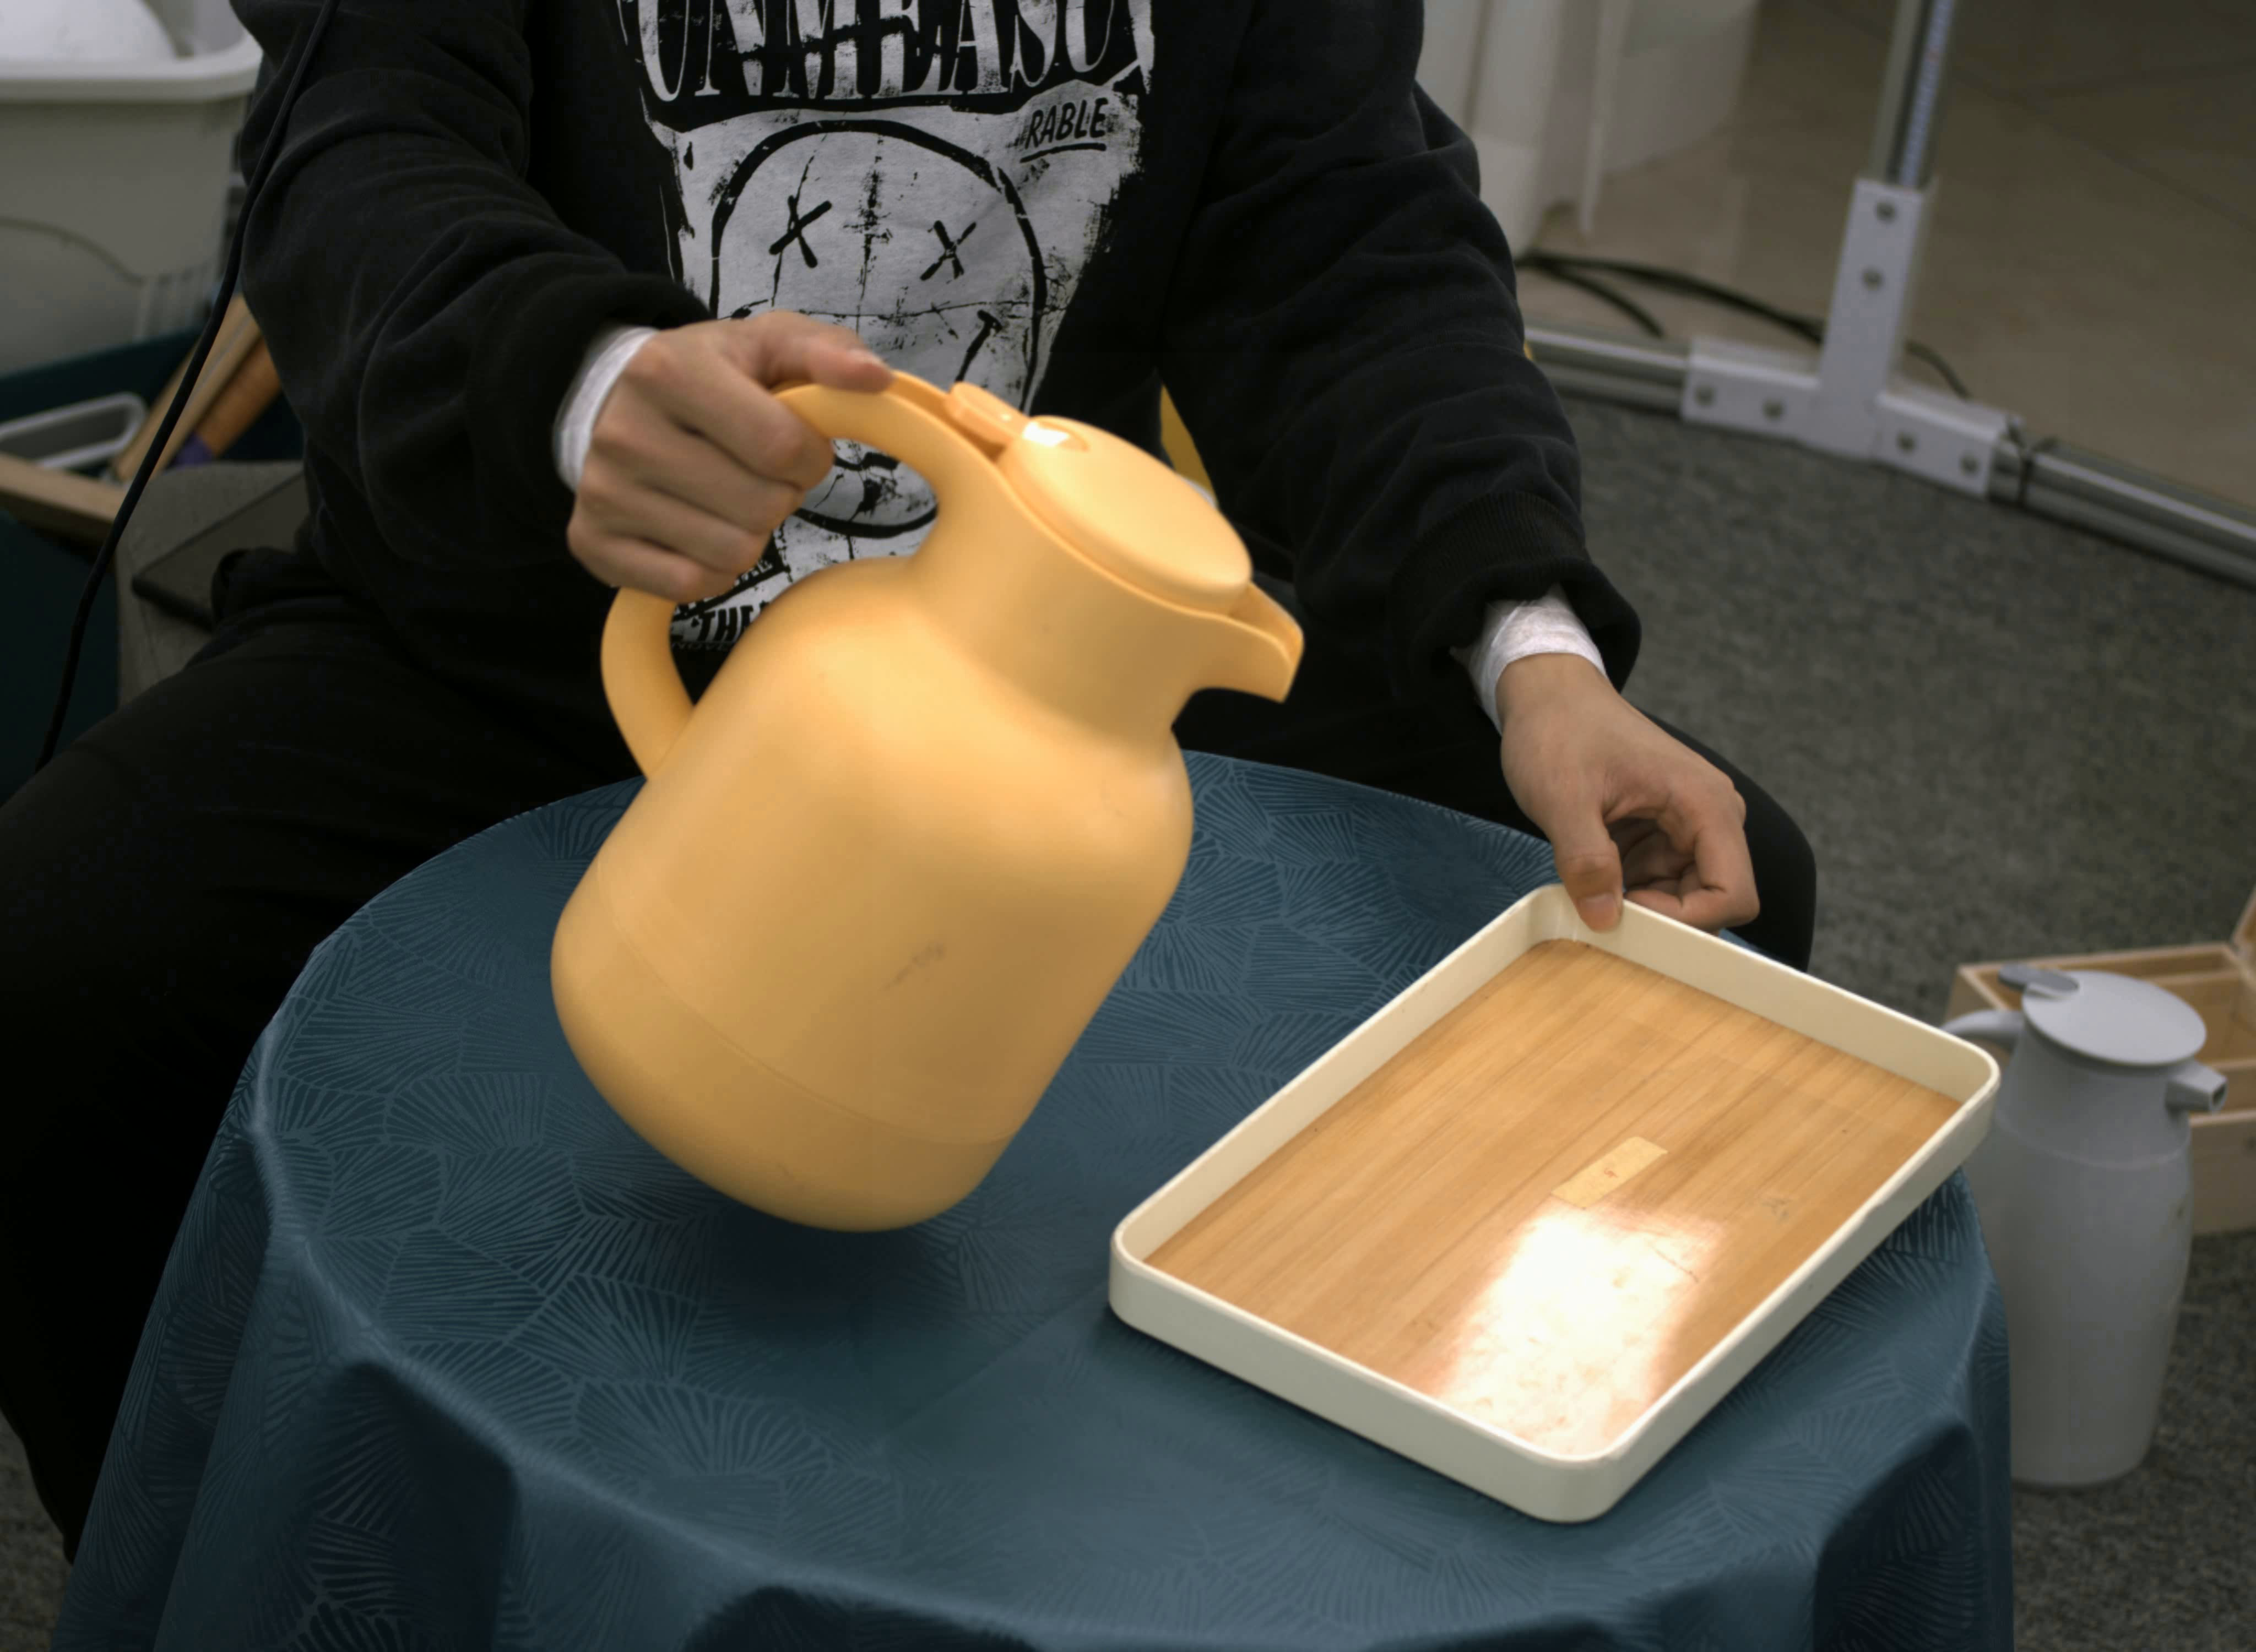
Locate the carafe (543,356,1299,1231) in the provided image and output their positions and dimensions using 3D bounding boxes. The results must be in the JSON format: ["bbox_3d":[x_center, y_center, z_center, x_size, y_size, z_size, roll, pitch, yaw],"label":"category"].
[{"bbox_3d":[-0.080,-0.019,1.695,0.202,0.260,0.163,35,19,1],"label":"carafe"}]

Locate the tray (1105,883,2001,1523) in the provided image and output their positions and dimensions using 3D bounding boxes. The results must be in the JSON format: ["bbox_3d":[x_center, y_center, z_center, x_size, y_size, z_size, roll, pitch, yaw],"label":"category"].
[{"bbox_3d":[0.147,0.119,1.789,0.192,0.027,0.299,23,36,27],"label":"tray"}]
